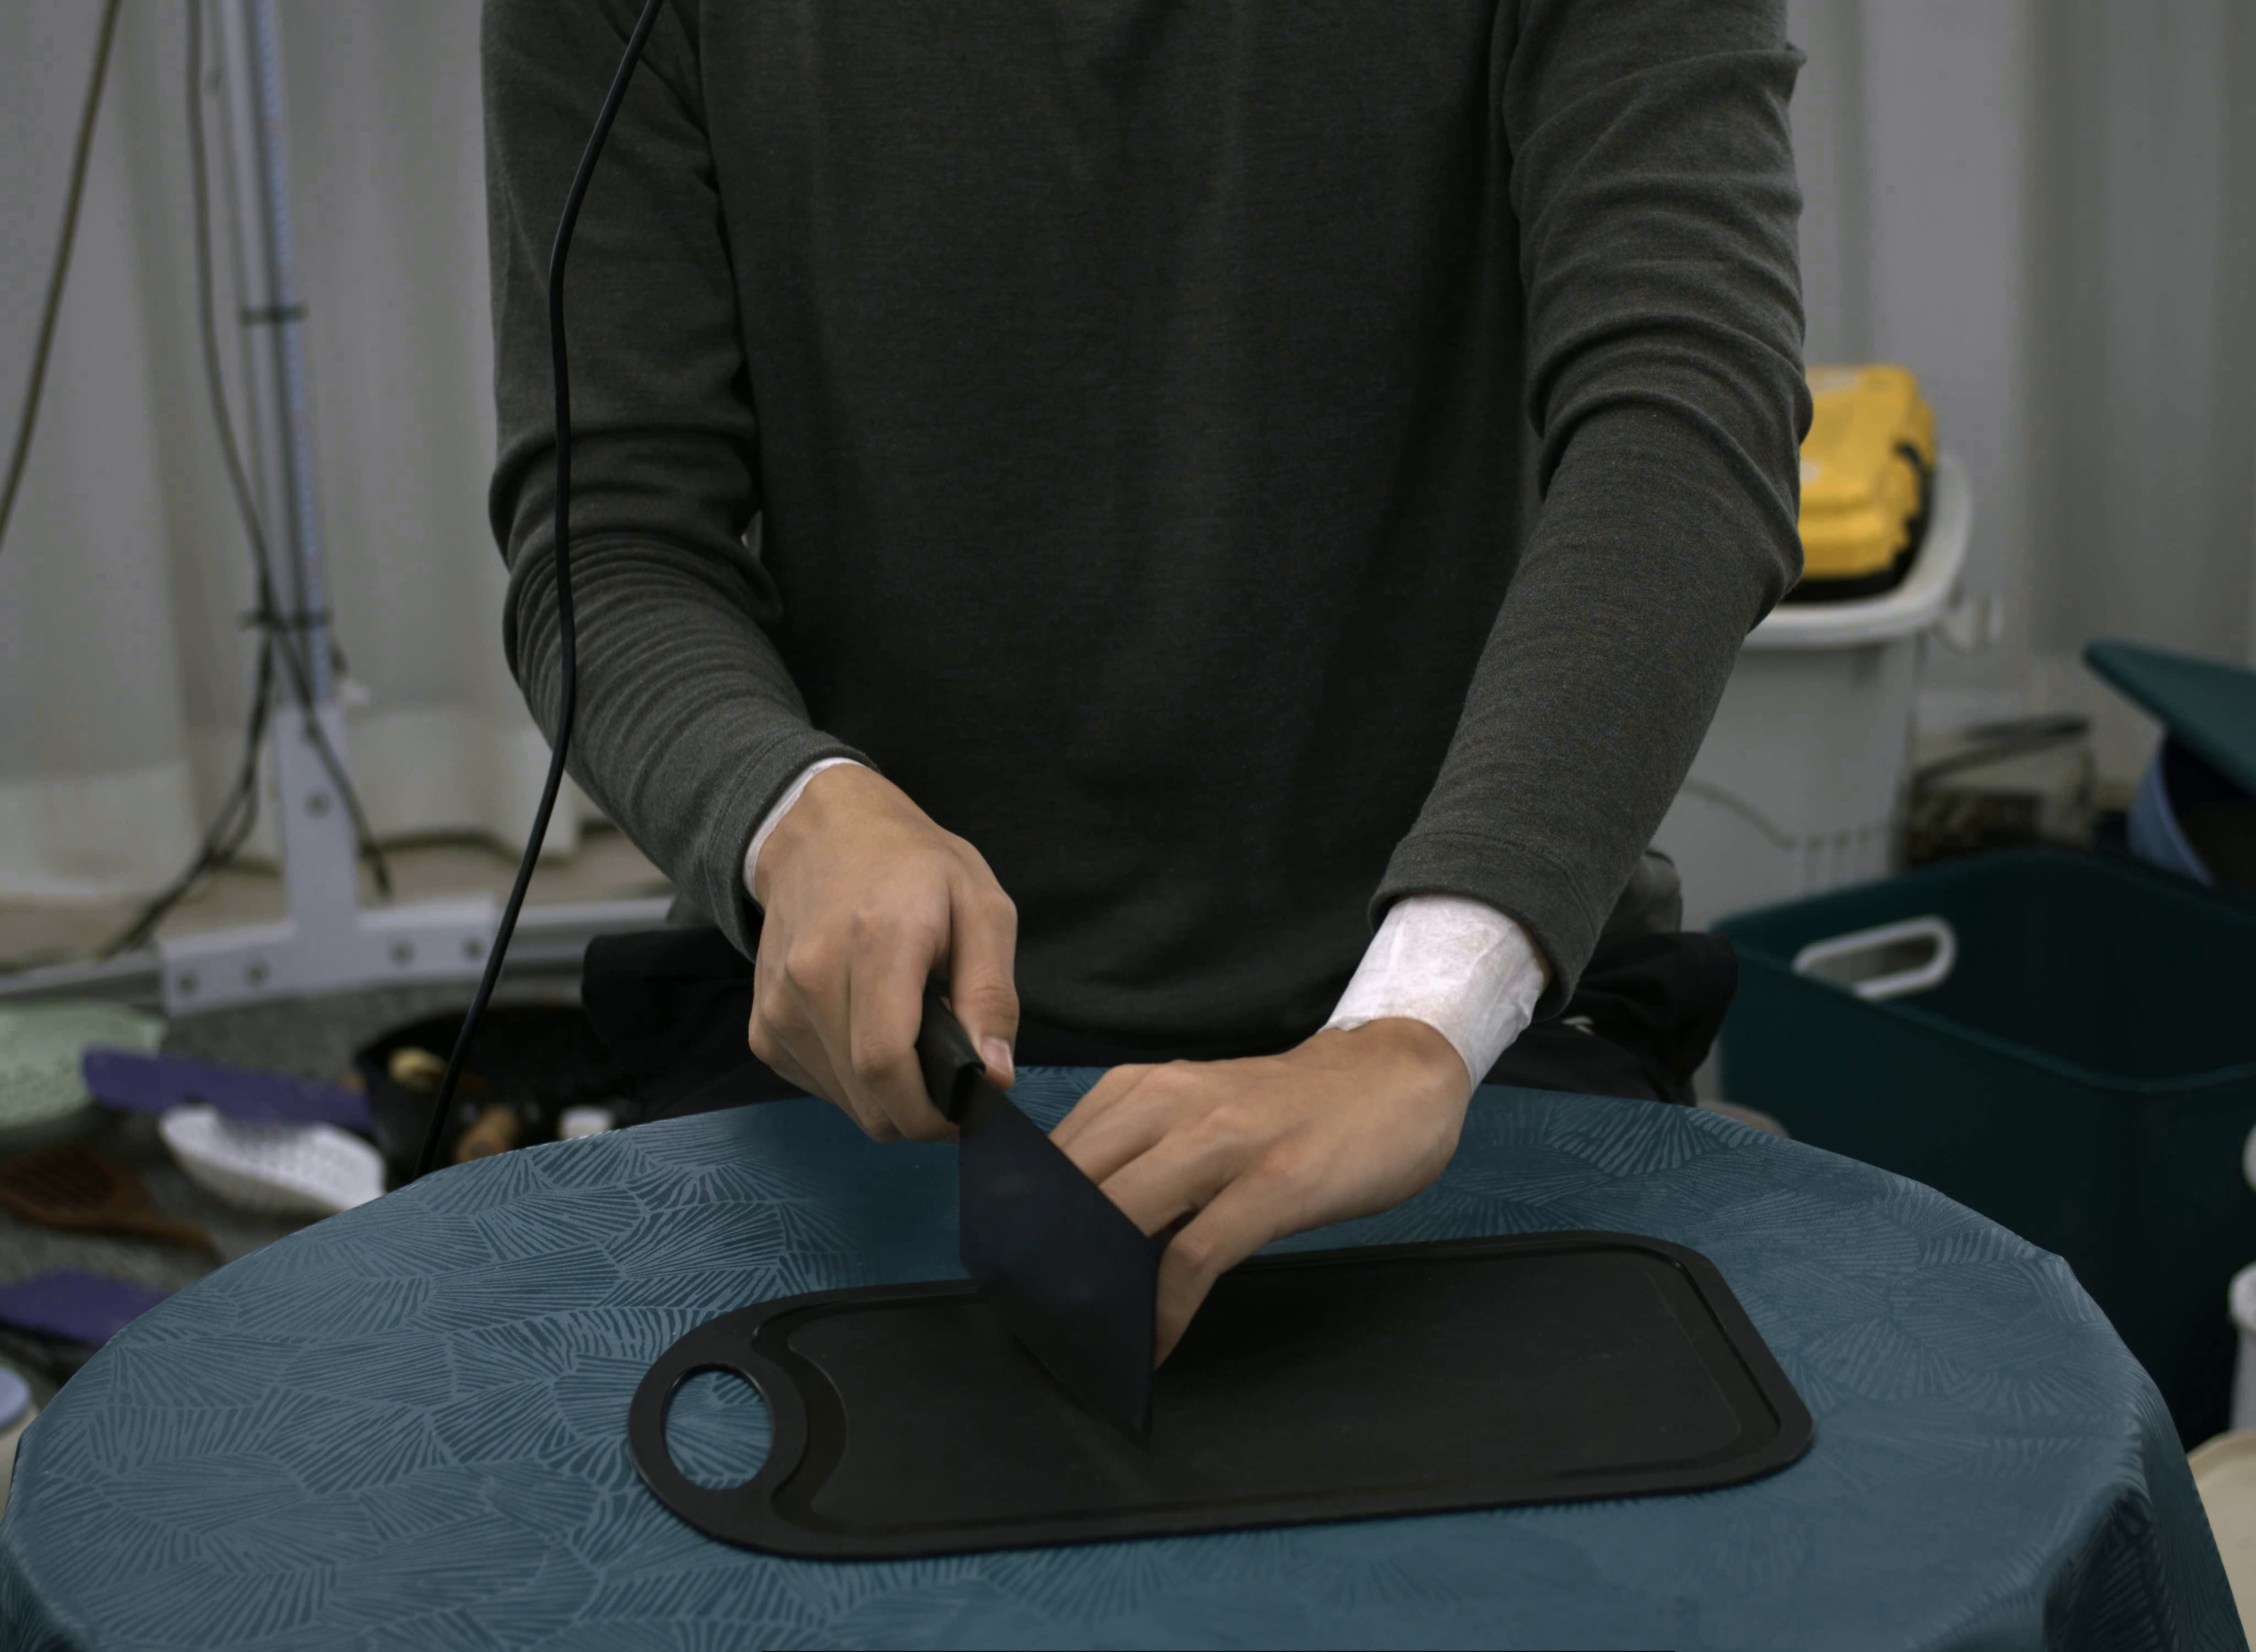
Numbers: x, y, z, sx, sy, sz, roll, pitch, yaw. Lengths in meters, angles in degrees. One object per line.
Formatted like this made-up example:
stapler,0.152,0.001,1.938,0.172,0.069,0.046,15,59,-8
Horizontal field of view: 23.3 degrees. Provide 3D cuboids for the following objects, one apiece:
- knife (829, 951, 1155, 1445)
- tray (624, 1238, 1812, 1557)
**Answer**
knife,-0.040,0.099,1.586,0.021,0.080,0.305,-1,18,-18
tray,0.020,0.158,1.539,0.324,0.010,0.212,-4,14,-4
